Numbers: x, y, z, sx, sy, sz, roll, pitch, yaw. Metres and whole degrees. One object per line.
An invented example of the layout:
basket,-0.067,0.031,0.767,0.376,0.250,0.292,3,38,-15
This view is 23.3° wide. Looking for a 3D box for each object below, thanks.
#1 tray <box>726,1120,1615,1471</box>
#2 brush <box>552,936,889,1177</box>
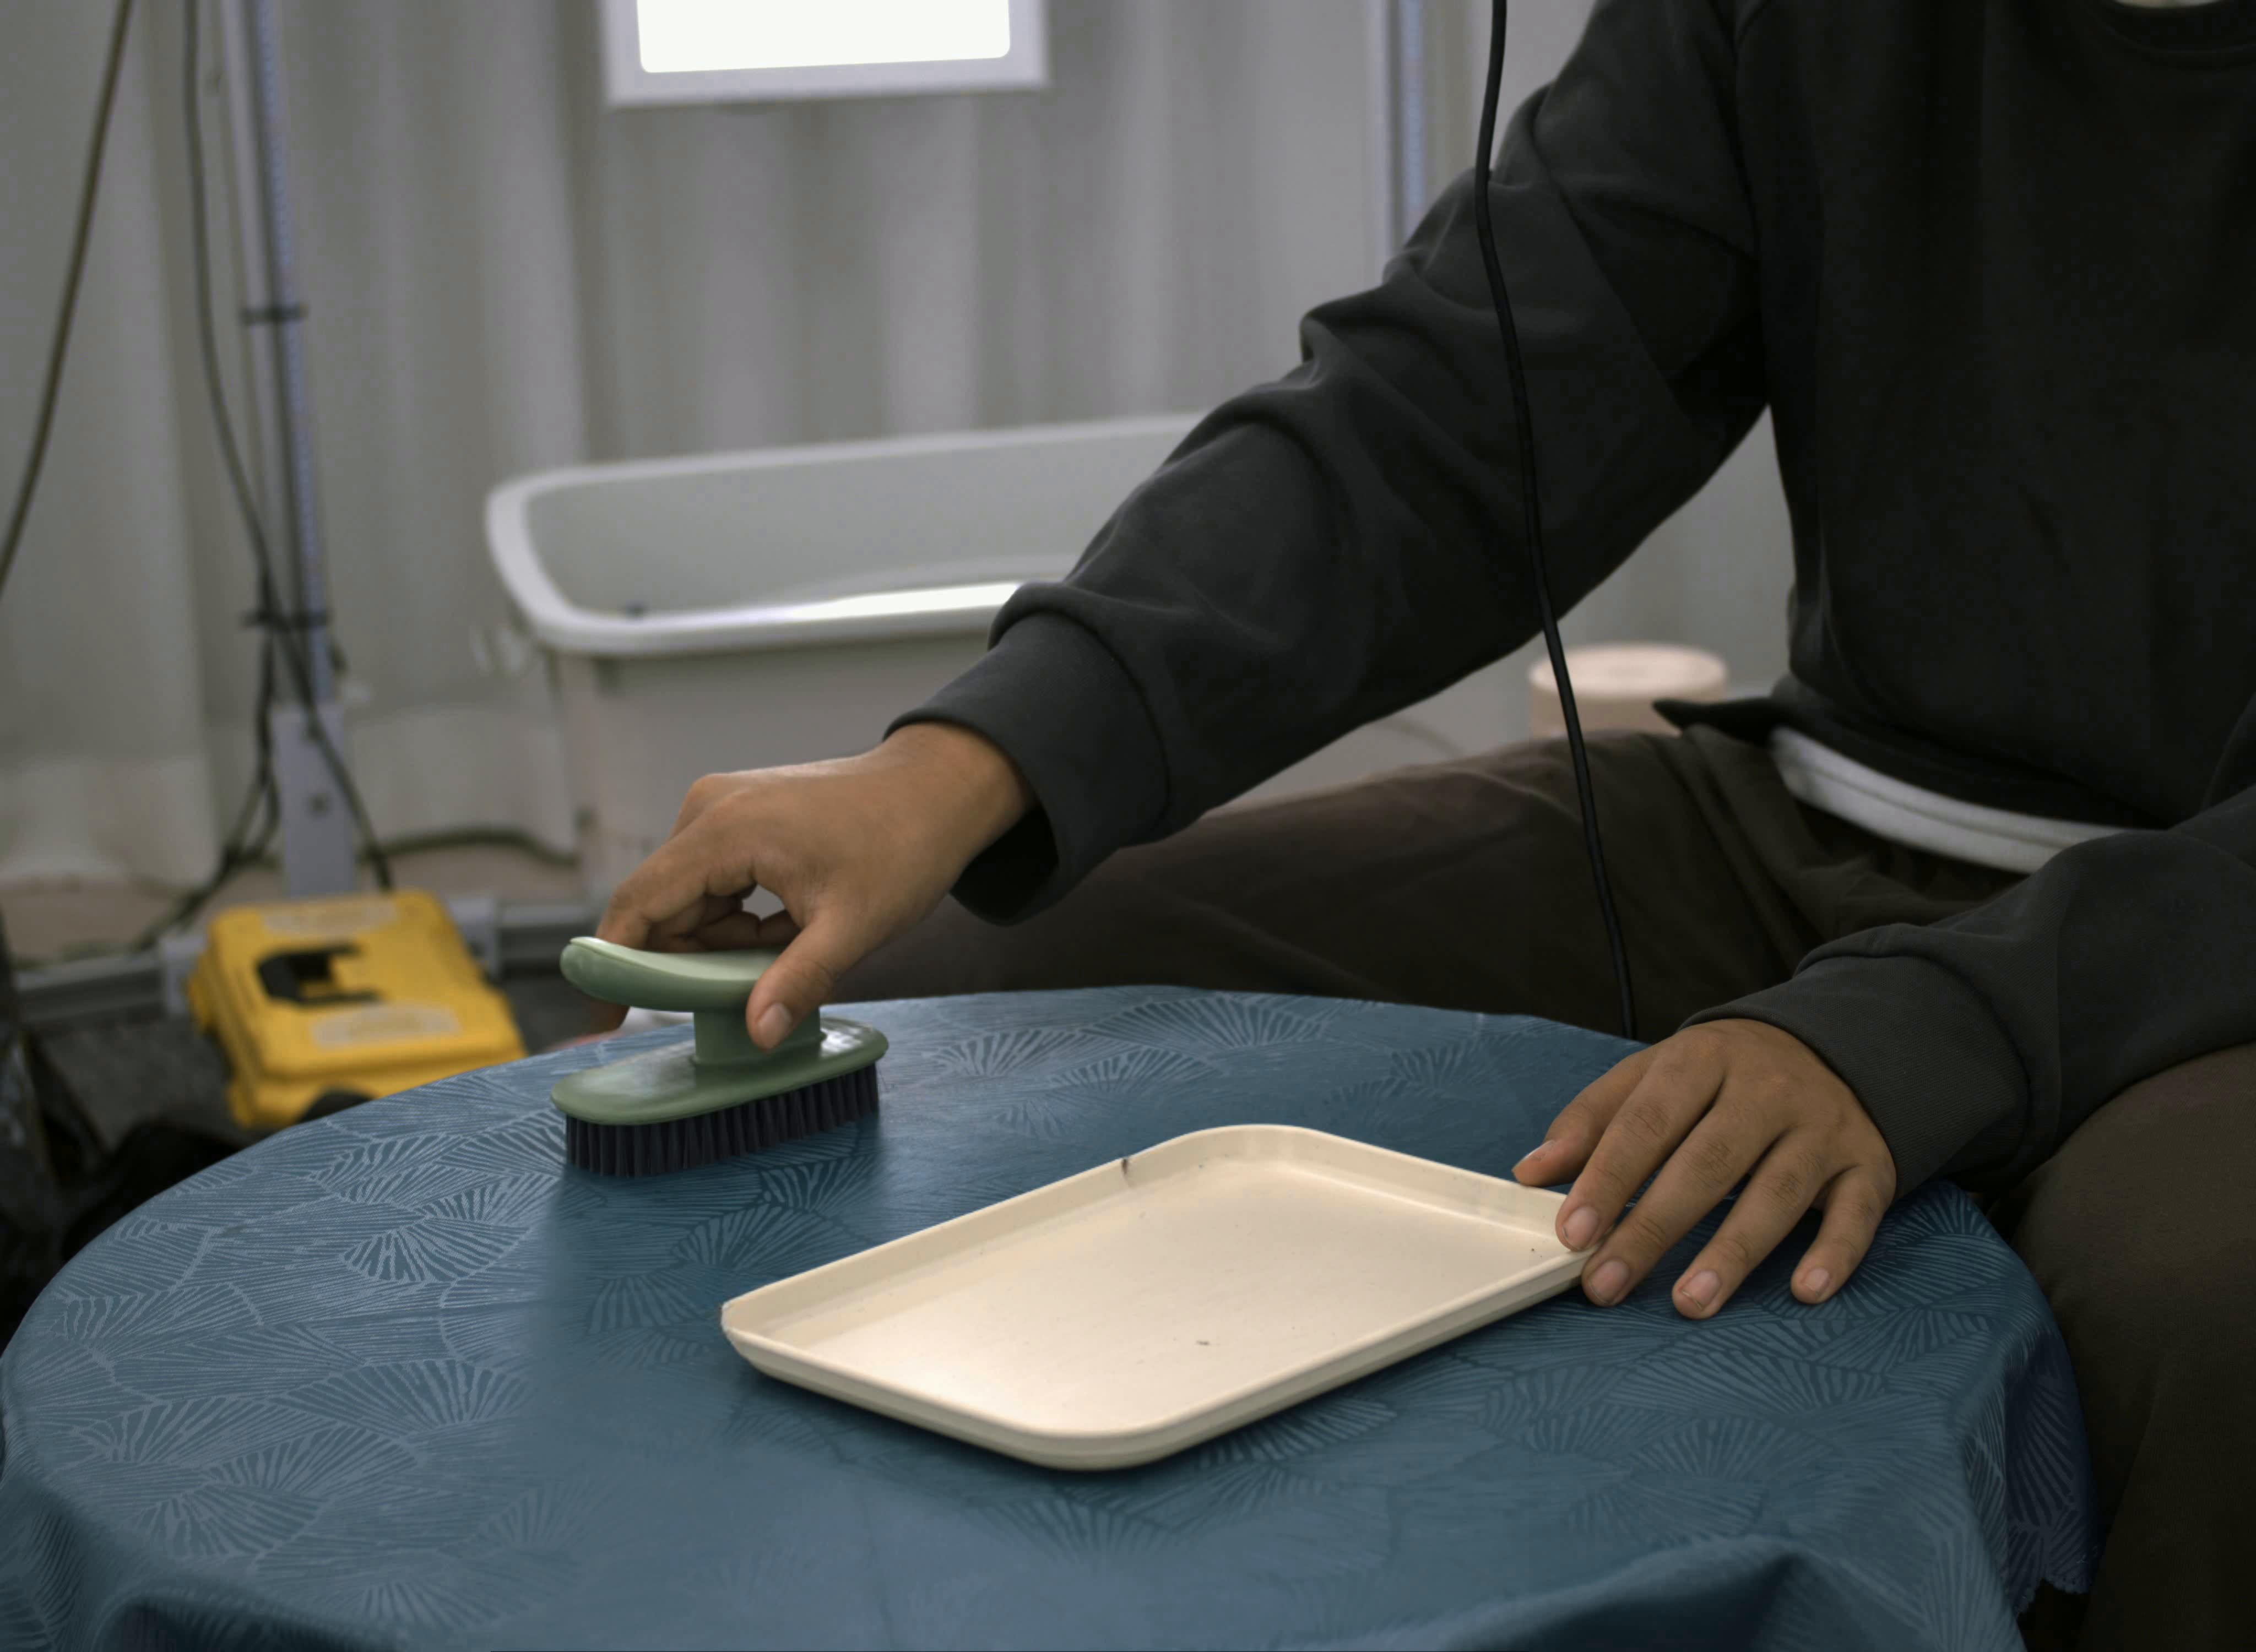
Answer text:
tray,0.015,0.136,1.600,0.172,0.017,0.239,13,21,43
brush,-0.134,0.075,1.787,0.122,0.076,0.060,3,8,-41
